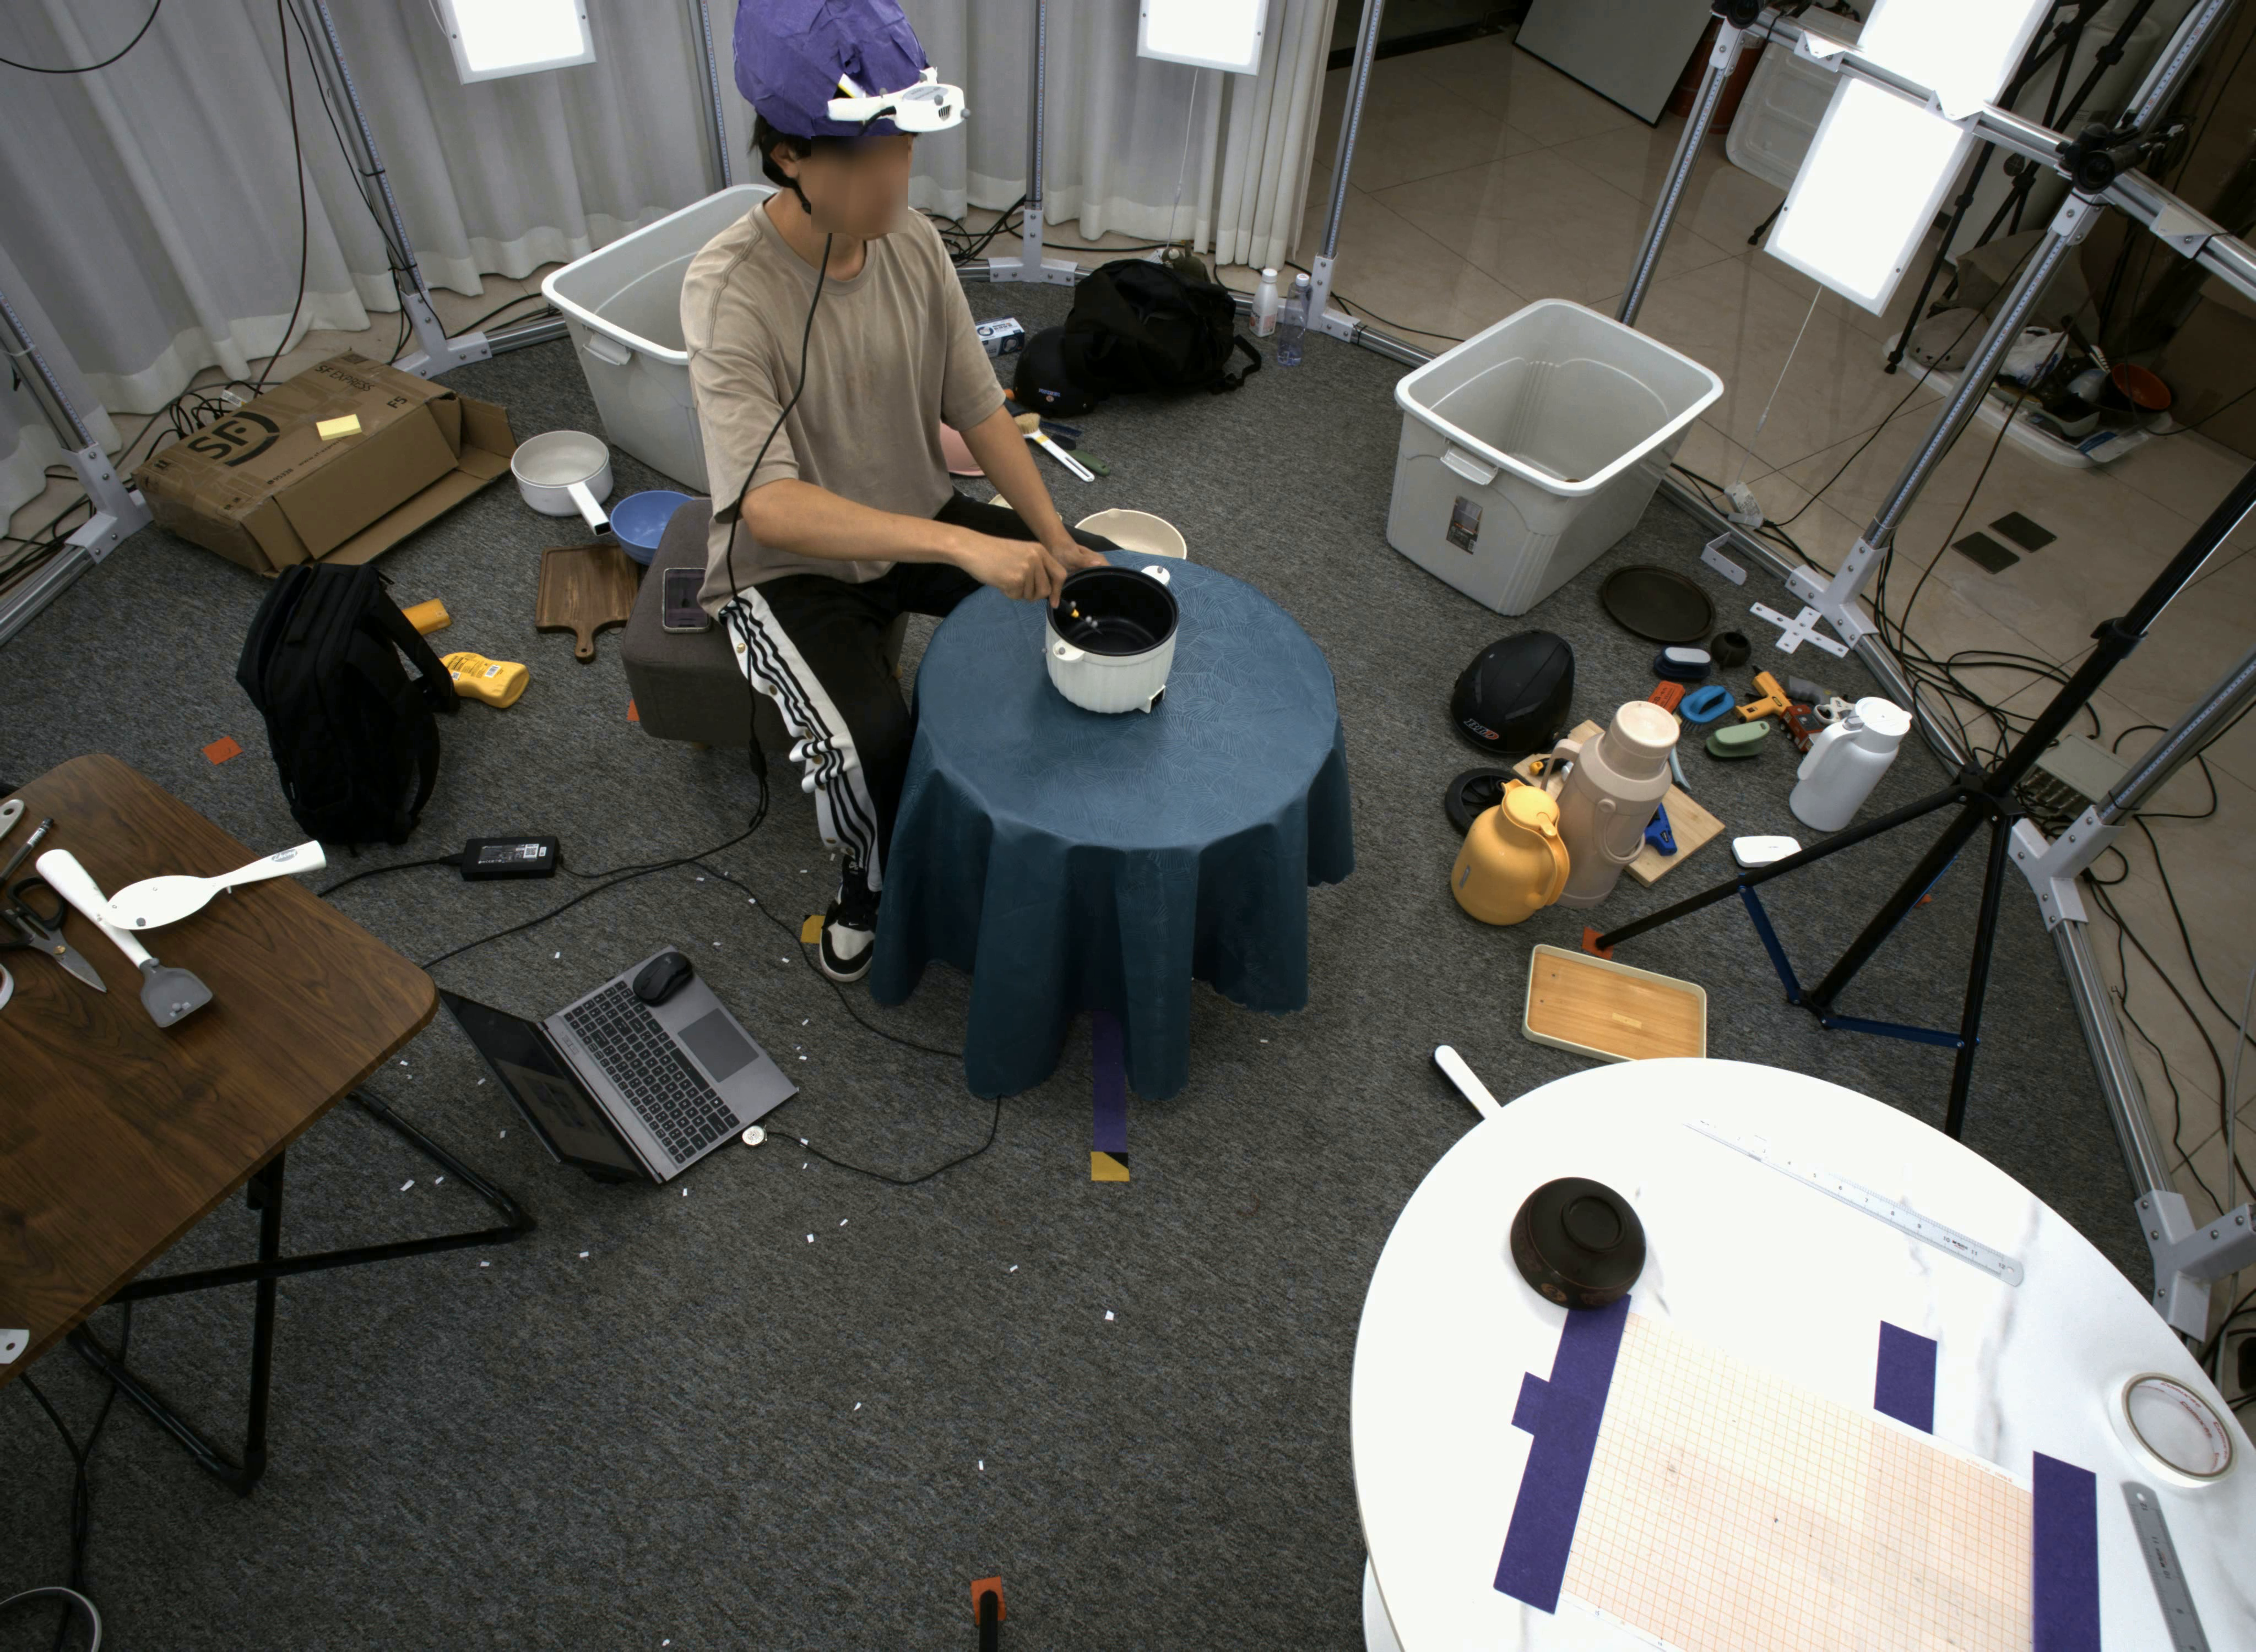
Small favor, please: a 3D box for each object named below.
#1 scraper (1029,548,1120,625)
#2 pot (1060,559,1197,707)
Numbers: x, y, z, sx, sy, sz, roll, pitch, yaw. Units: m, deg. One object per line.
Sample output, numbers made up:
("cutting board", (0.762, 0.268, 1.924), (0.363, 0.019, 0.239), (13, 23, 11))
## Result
("scraper", (-0.068, -0.306, 1.654), (0.015, 0.168, 0.039), (-50, 45, 7))
("pot", (-0.008, -0.264, 1.792), (0.192, 0.139, 0.243), (32, 52, 17))
